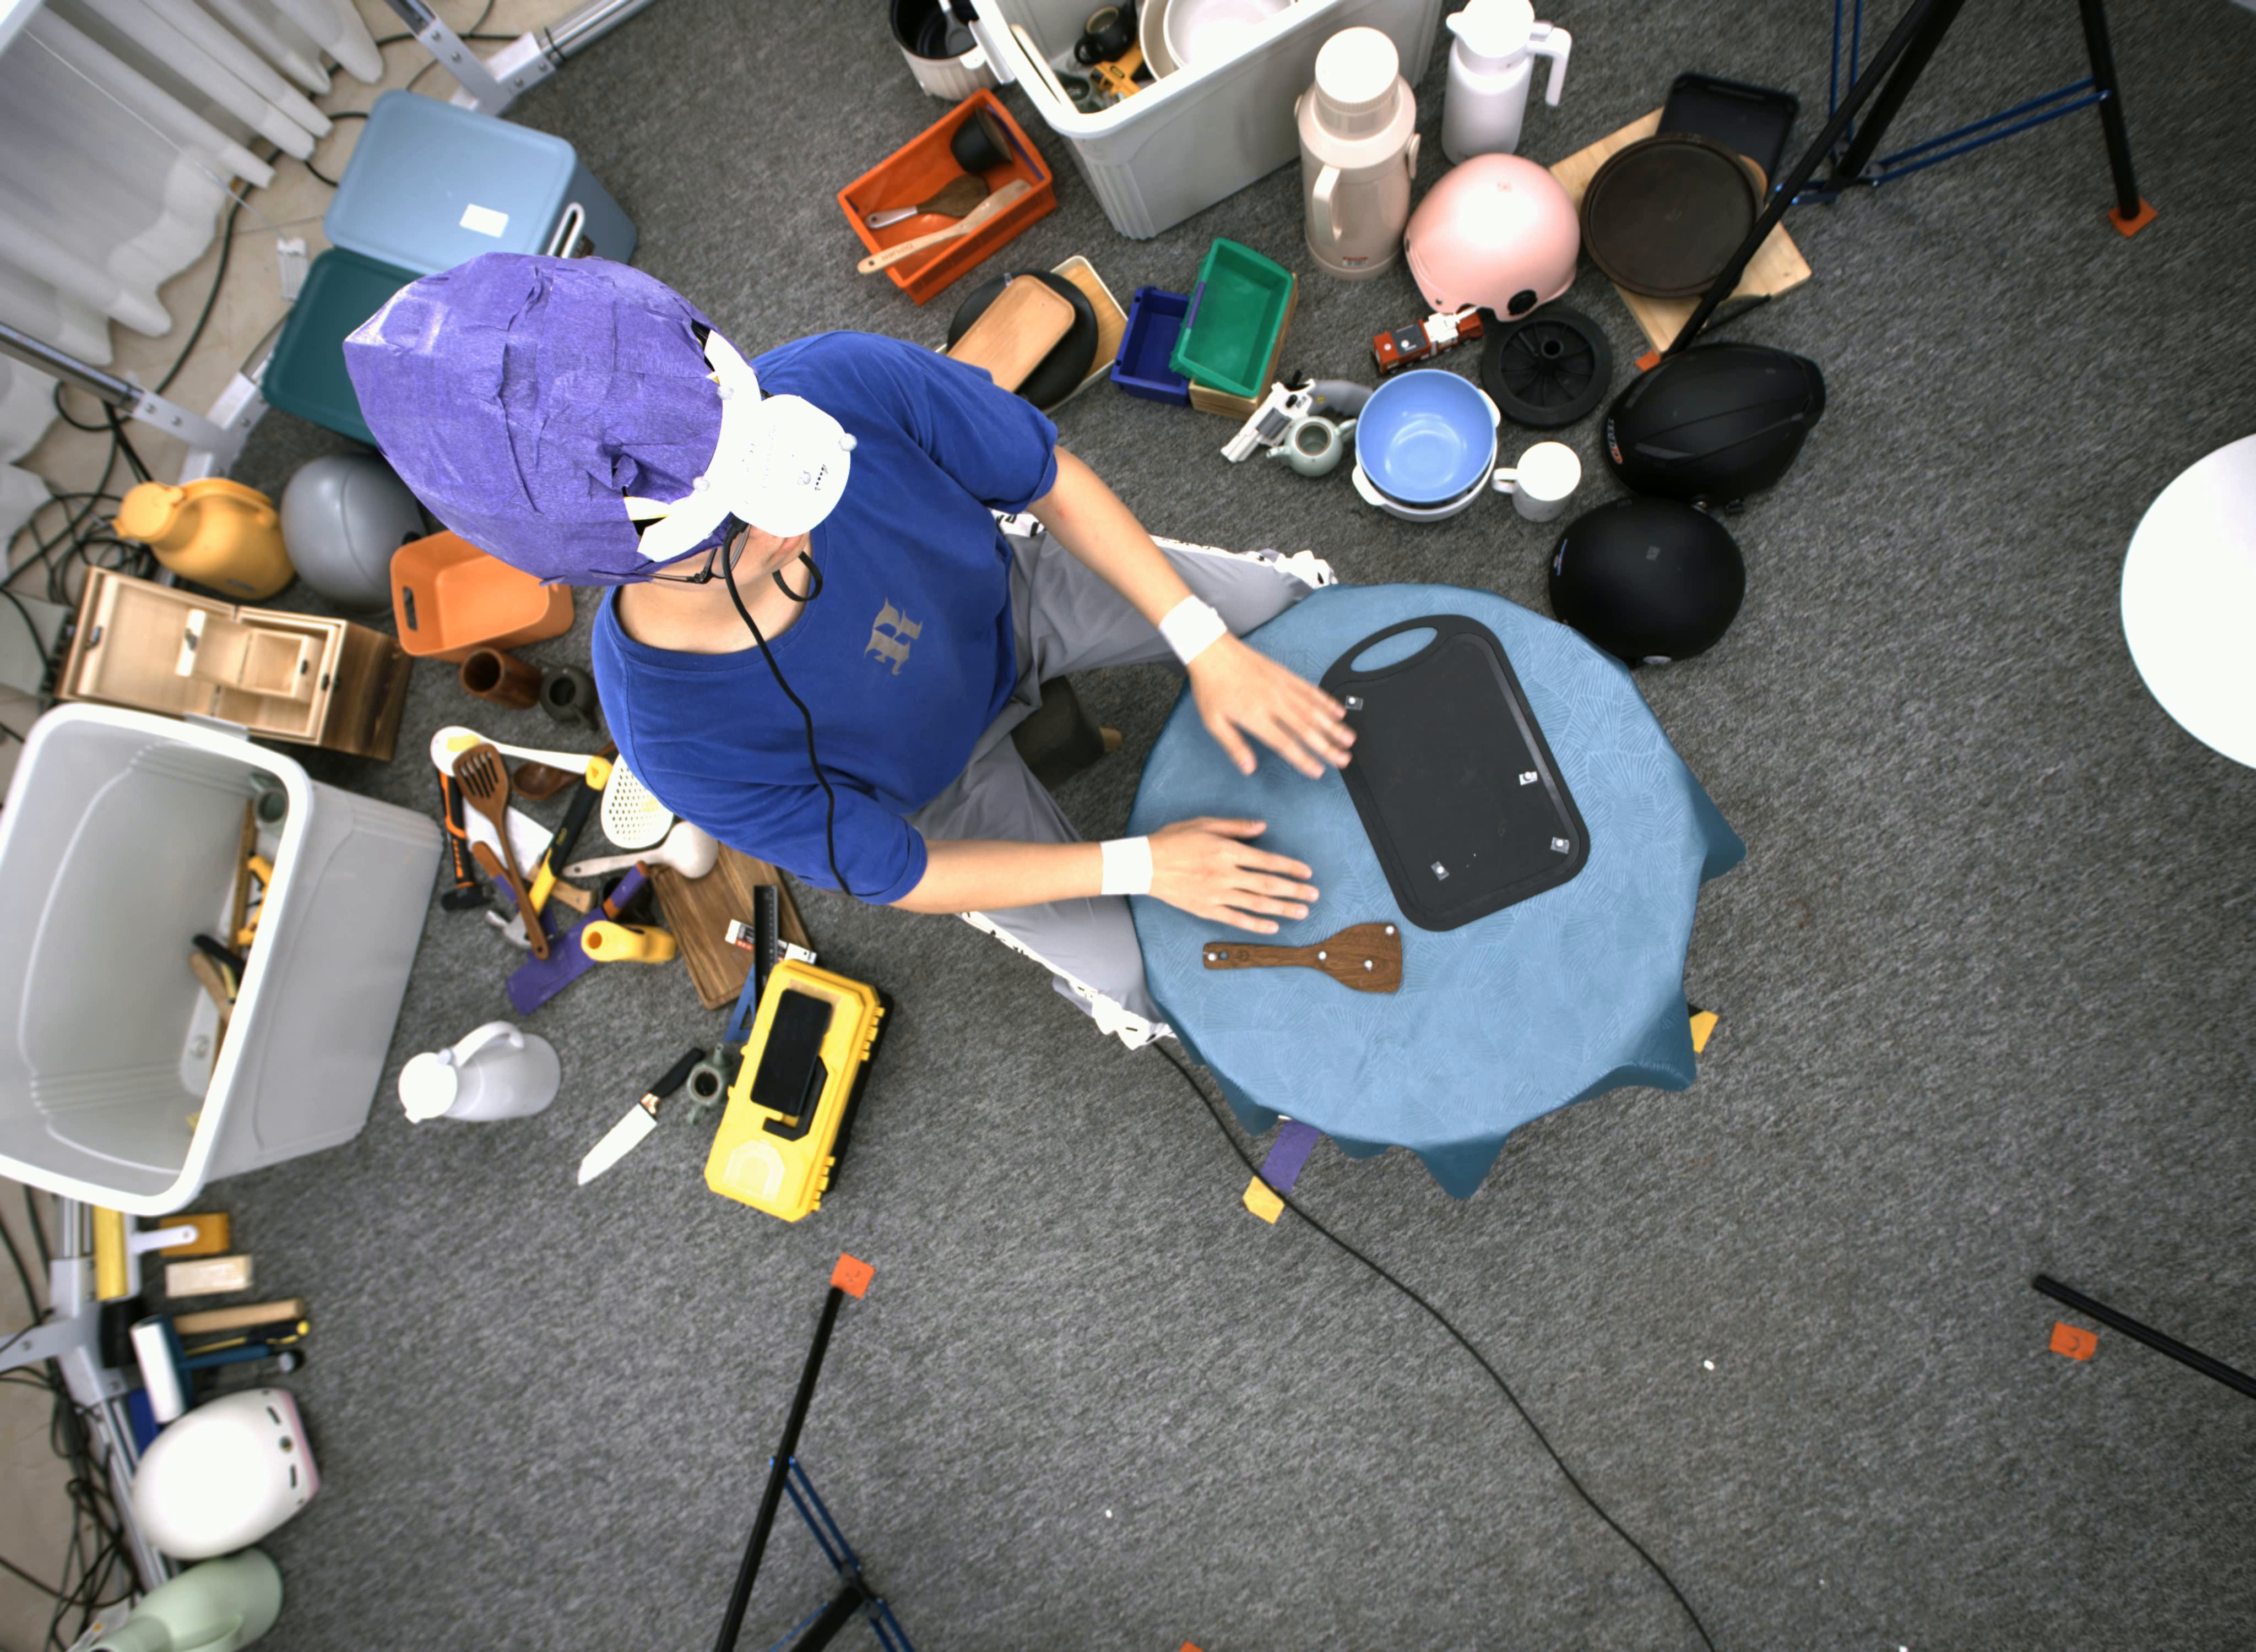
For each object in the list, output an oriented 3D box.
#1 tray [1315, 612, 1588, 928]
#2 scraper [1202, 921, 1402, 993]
[{"bbox_3d":[0.335,-0.068,1.450,0.212,0.010,0.323,-23,83,9],"label":"tray"},{"bbox_3d":[0.183,0.137,1.467,0.212,0.011,0.075,0,87,11],"label":"scraper"}]
